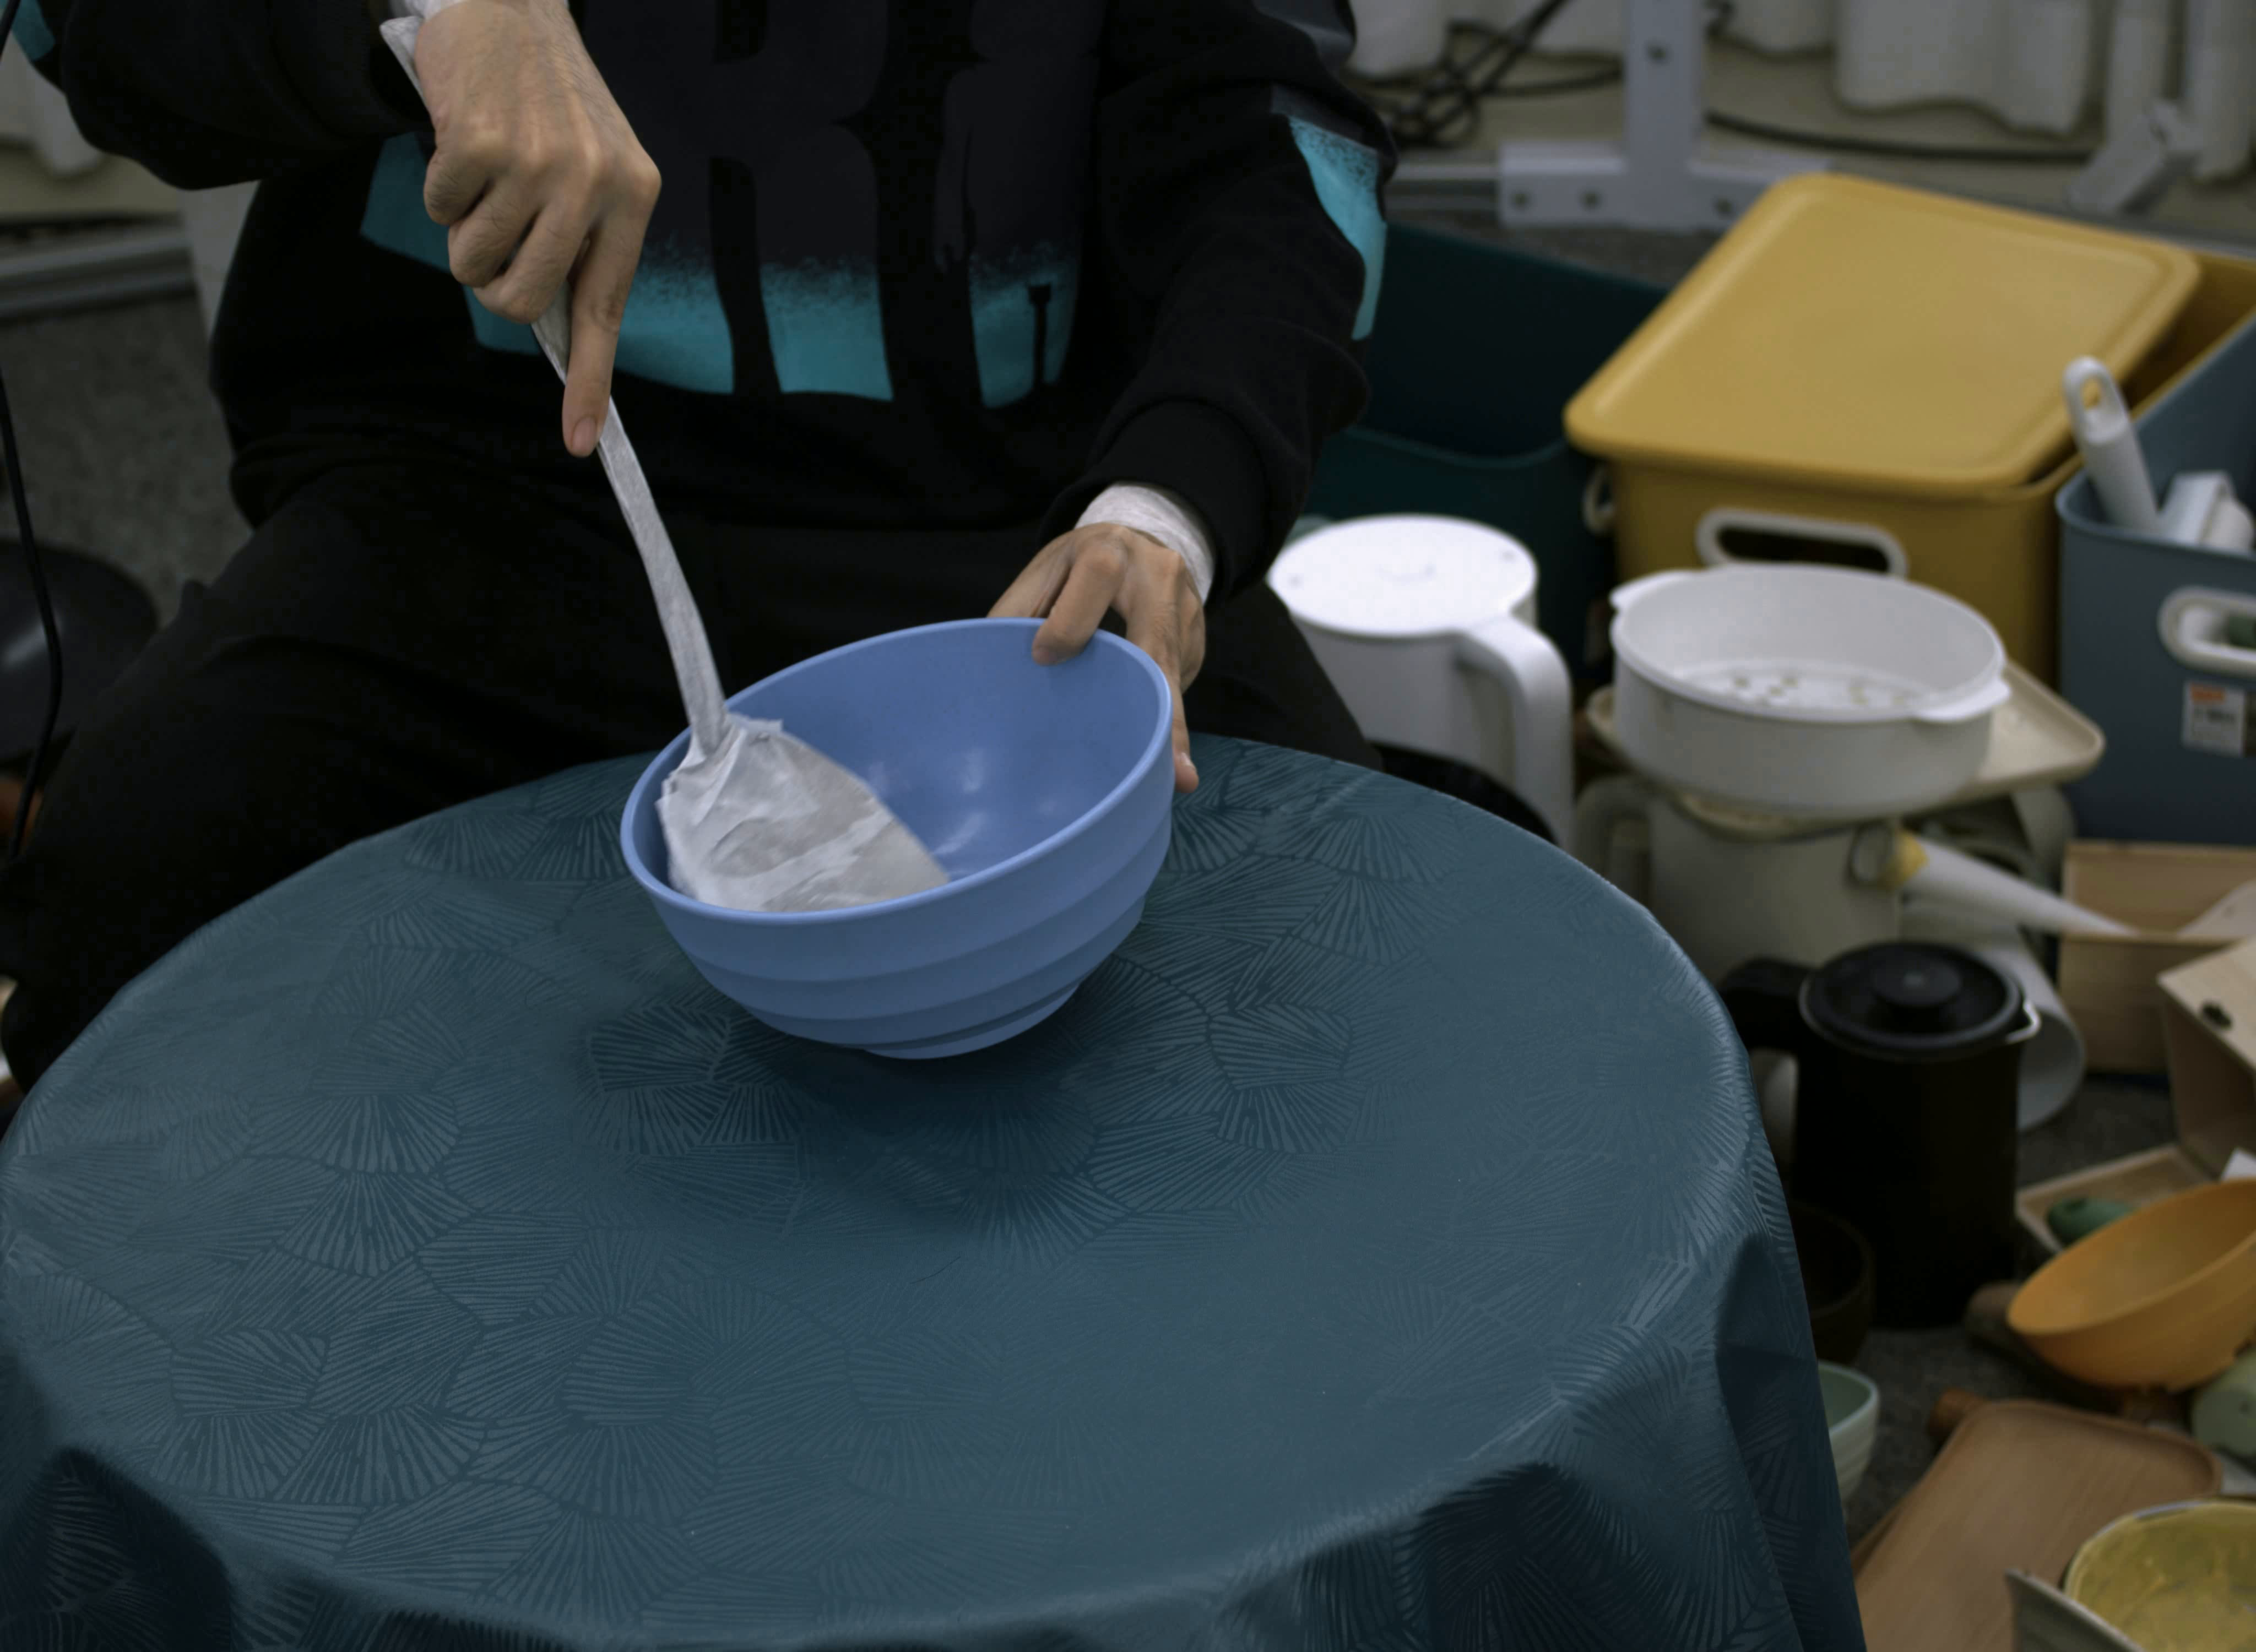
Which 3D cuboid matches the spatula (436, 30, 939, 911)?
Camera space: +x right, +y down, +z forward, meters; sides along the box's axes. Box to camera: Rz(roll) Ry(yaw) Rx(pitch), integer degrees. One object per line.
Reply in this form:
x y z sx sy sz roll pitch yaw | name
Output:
-0.164 -0.111 1.959 0.100 0.366 0.044 -21 0 -41 | spatula

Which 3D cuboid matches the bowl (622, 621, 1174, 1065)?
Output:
-0.068 0.018 1.949 0.195 0.094 0.199 -13 28 7 | bowl
